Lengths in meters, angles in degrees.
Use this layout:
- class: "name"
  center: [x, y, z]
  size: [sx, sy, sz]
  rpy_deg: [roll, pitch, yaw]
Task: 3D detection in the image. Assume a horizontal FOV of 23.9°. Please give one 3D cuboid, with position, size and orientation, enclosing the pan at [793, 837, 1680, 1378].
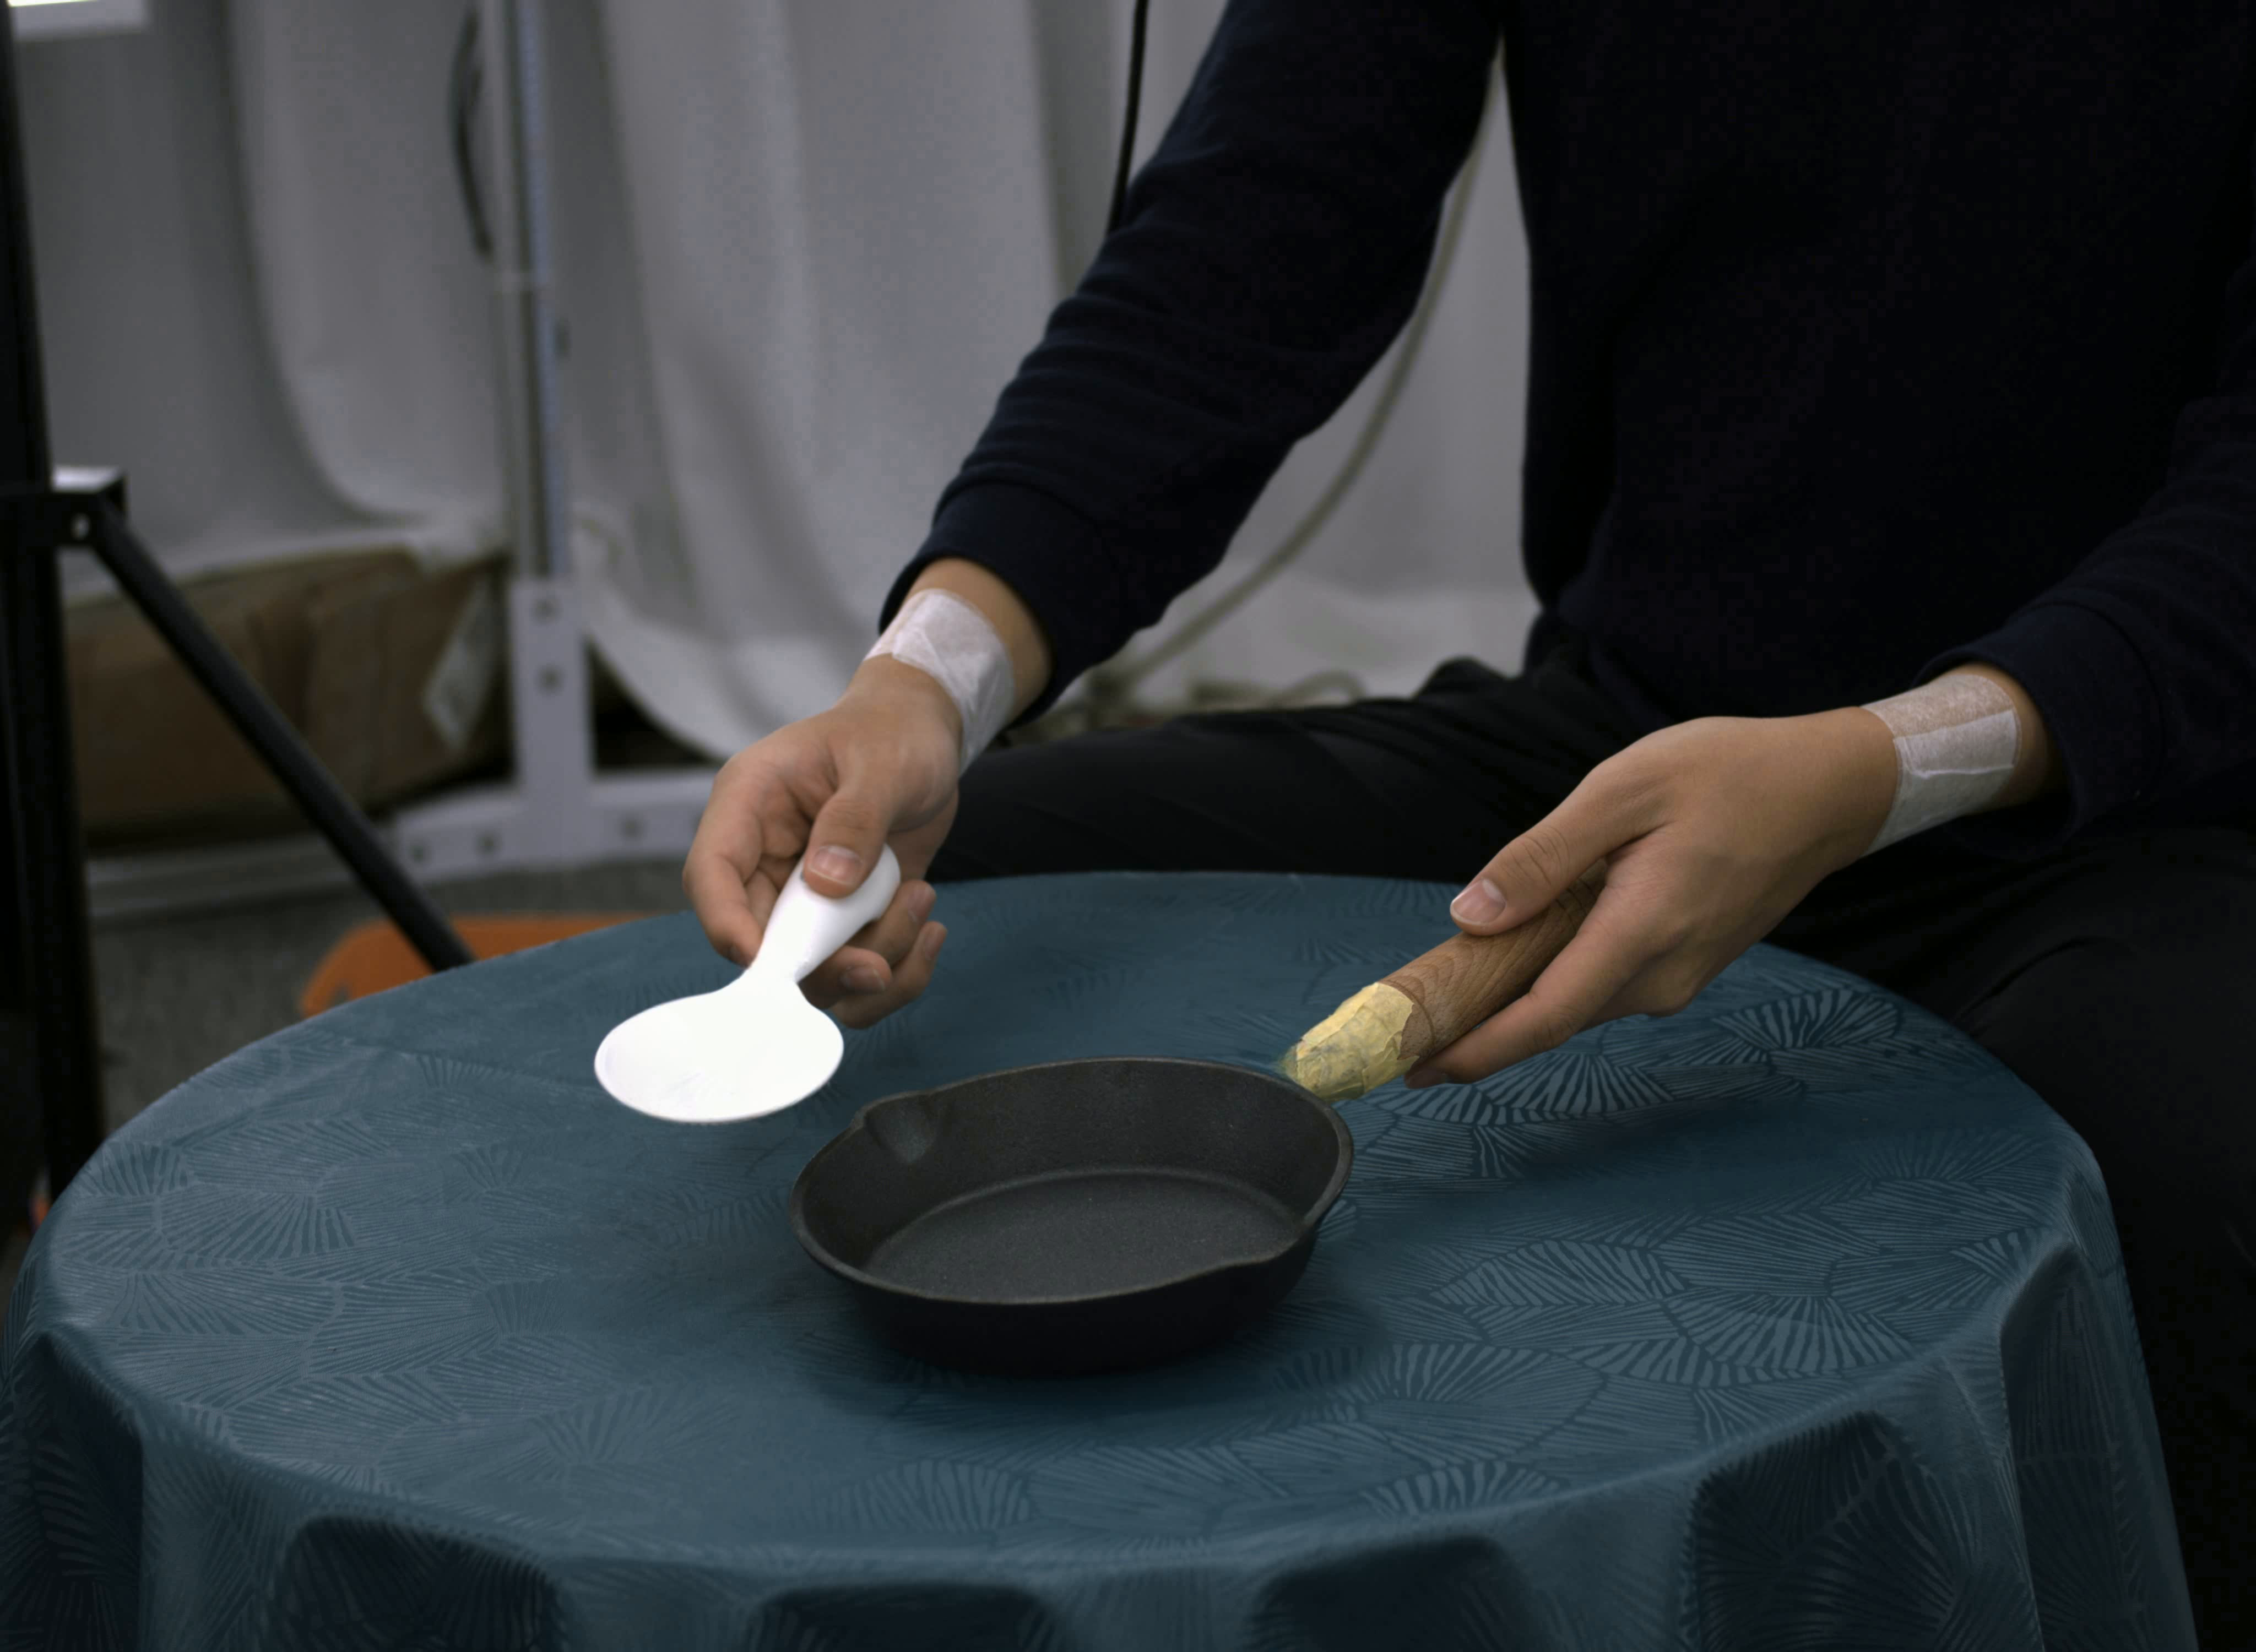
- class: "pan"
  center: [0.048, 0.076, 1.514]
  size: [0.318, 0.049, 0.173]
  rpy_deg: [-24, 26, -34]

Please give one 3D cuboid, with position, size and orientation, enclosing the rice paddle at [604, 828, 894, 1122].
- class: "rice paddle"
  center: [-0.104, 0.046, 1.568]
  size: [0.069, 0.029, 0.204]
  rpy_deg: [0, 18, 10]
